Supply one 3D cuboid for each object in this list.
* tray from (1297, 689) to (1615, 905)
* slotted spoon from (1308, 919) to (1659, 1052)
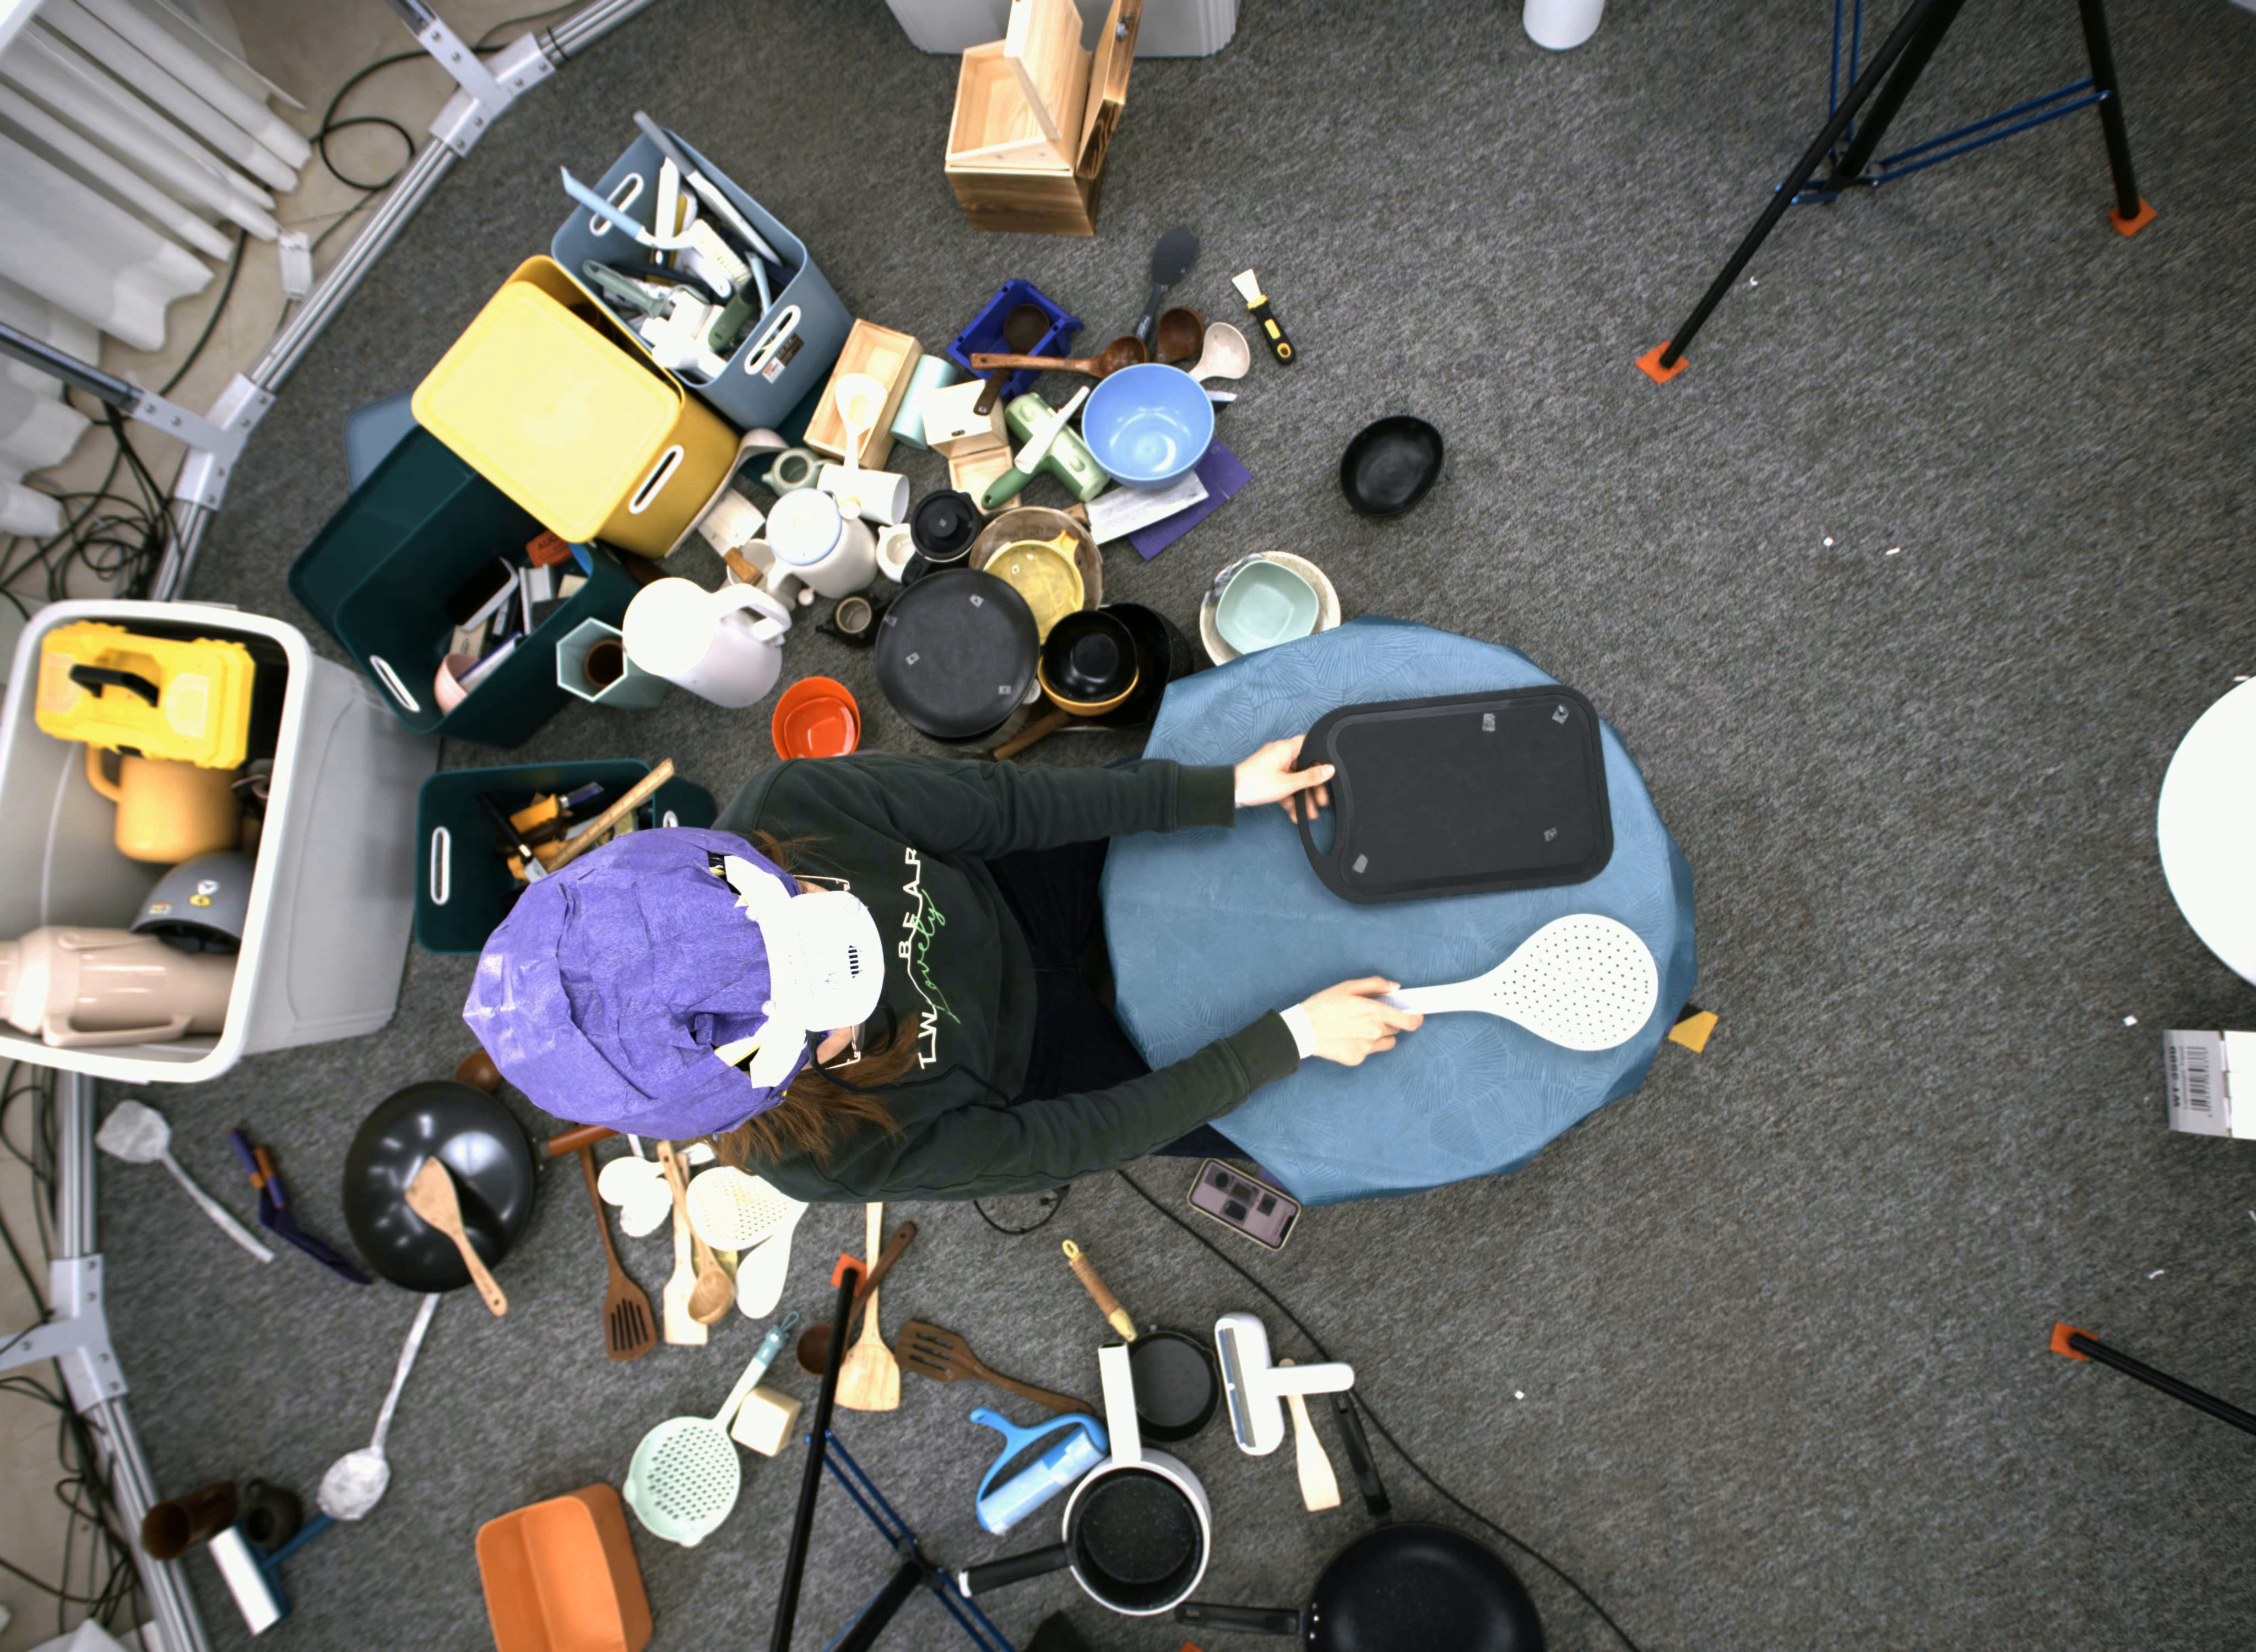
[{"bbox_3d":[0.340,-0.032,1.435,0.326,0.010,0.210,-6,87,3],"label":"tray"},{"bbox_3d":[0.360,0.173,1.414,0.351,0.046,0.134,-7,73,9],"label":"slotted spoon"}]
